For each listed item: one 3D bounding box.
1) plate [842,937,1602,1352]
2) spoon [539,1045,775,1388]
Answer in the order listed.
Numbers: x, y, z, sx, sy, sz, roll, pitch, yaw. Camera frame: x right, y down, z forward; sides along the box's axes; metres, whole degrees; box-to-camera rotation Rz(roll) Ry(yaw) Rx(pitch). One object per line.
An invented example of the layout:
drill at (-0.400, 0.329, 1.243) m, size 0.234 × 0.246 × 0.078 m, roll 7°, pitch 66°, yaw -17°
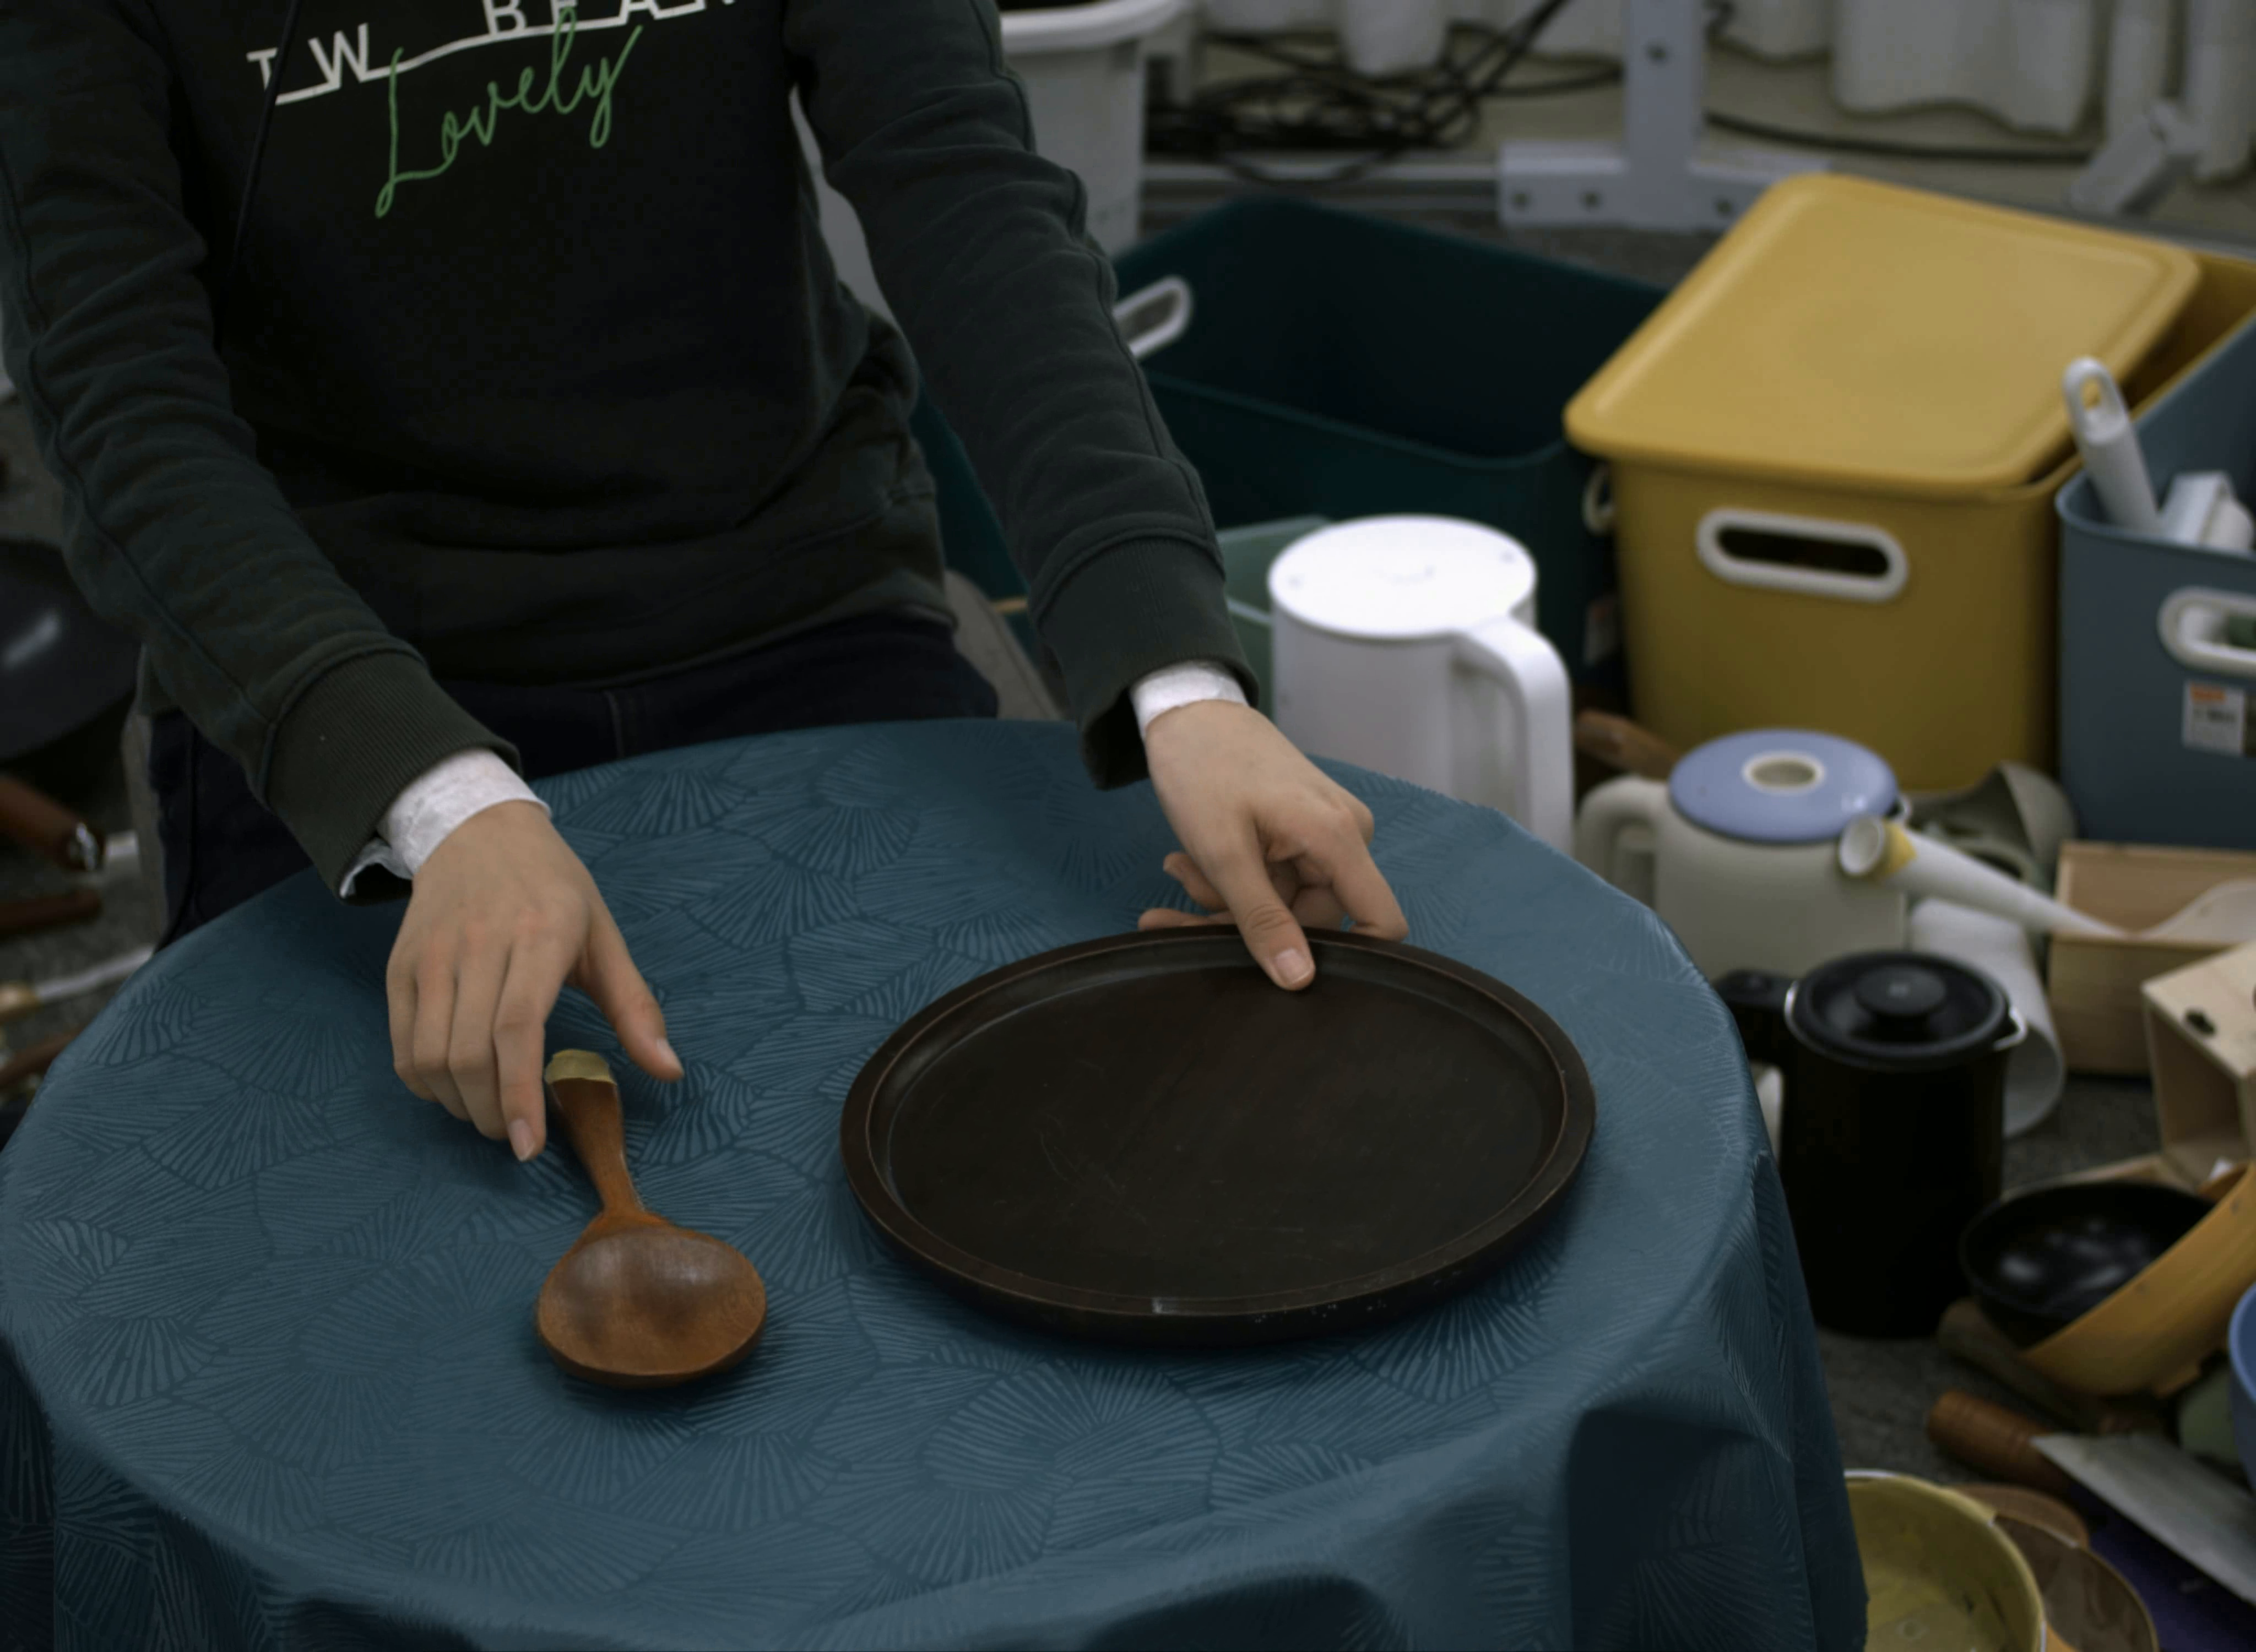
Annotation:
plate at (0.031, 0.103, 1.870) m, size 0.253 × 0.029 × 0.259 m, roll -1°, pitch 28°, yaw 1°
spoon at (-0.165, 0.129, 1.845) m, size 0.075 × 0.017 × 0.218 m, roll -9°, pitch 28°, yaw -11°
